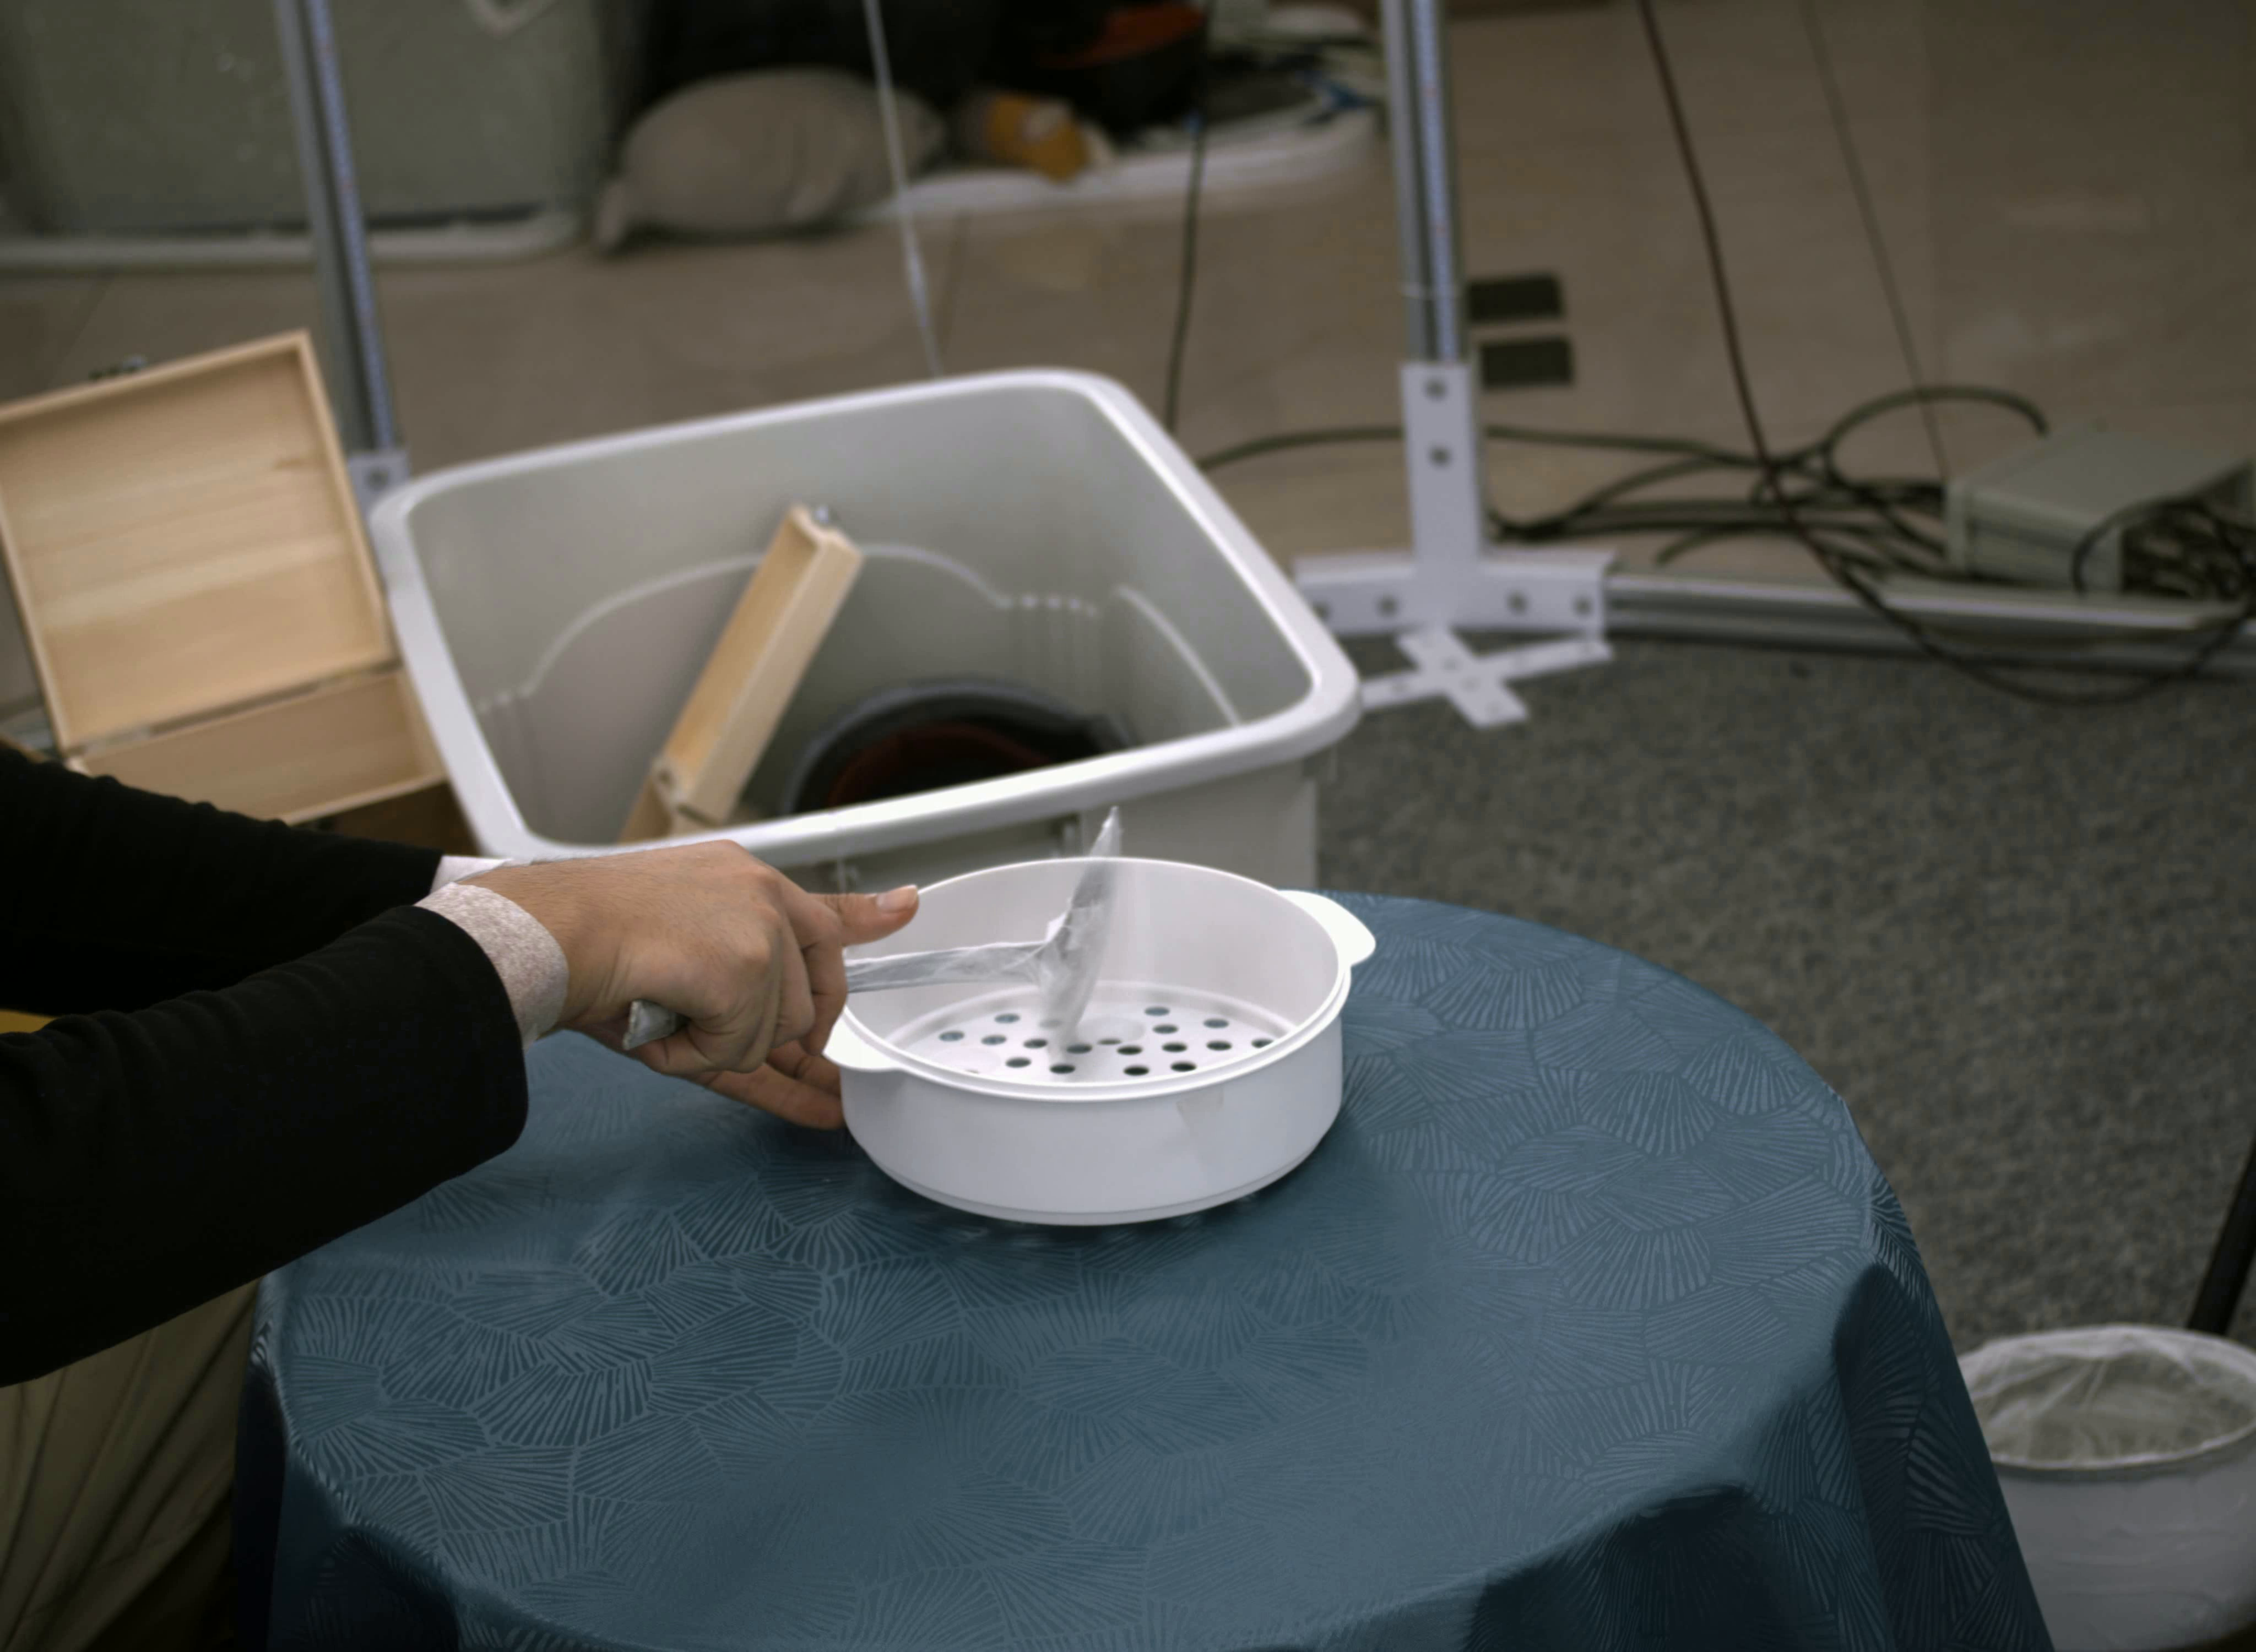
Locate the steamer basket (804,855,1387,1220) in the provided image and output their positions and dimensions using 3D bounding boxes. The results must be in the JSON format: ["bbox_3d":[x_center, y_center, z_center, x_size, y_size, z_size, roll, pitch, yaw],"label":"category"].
[{"bbox_3d":[-0.010,0.082,2.179,0.230,0.070,0.199,-13,27,-20],"label":"steamer basket"}]

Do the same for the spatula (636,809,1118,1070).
[{"bbox_3d":[-0.088,0.054,2.082,0.044,0.099,0.364,24,15,27],"label":"spatula"}]
